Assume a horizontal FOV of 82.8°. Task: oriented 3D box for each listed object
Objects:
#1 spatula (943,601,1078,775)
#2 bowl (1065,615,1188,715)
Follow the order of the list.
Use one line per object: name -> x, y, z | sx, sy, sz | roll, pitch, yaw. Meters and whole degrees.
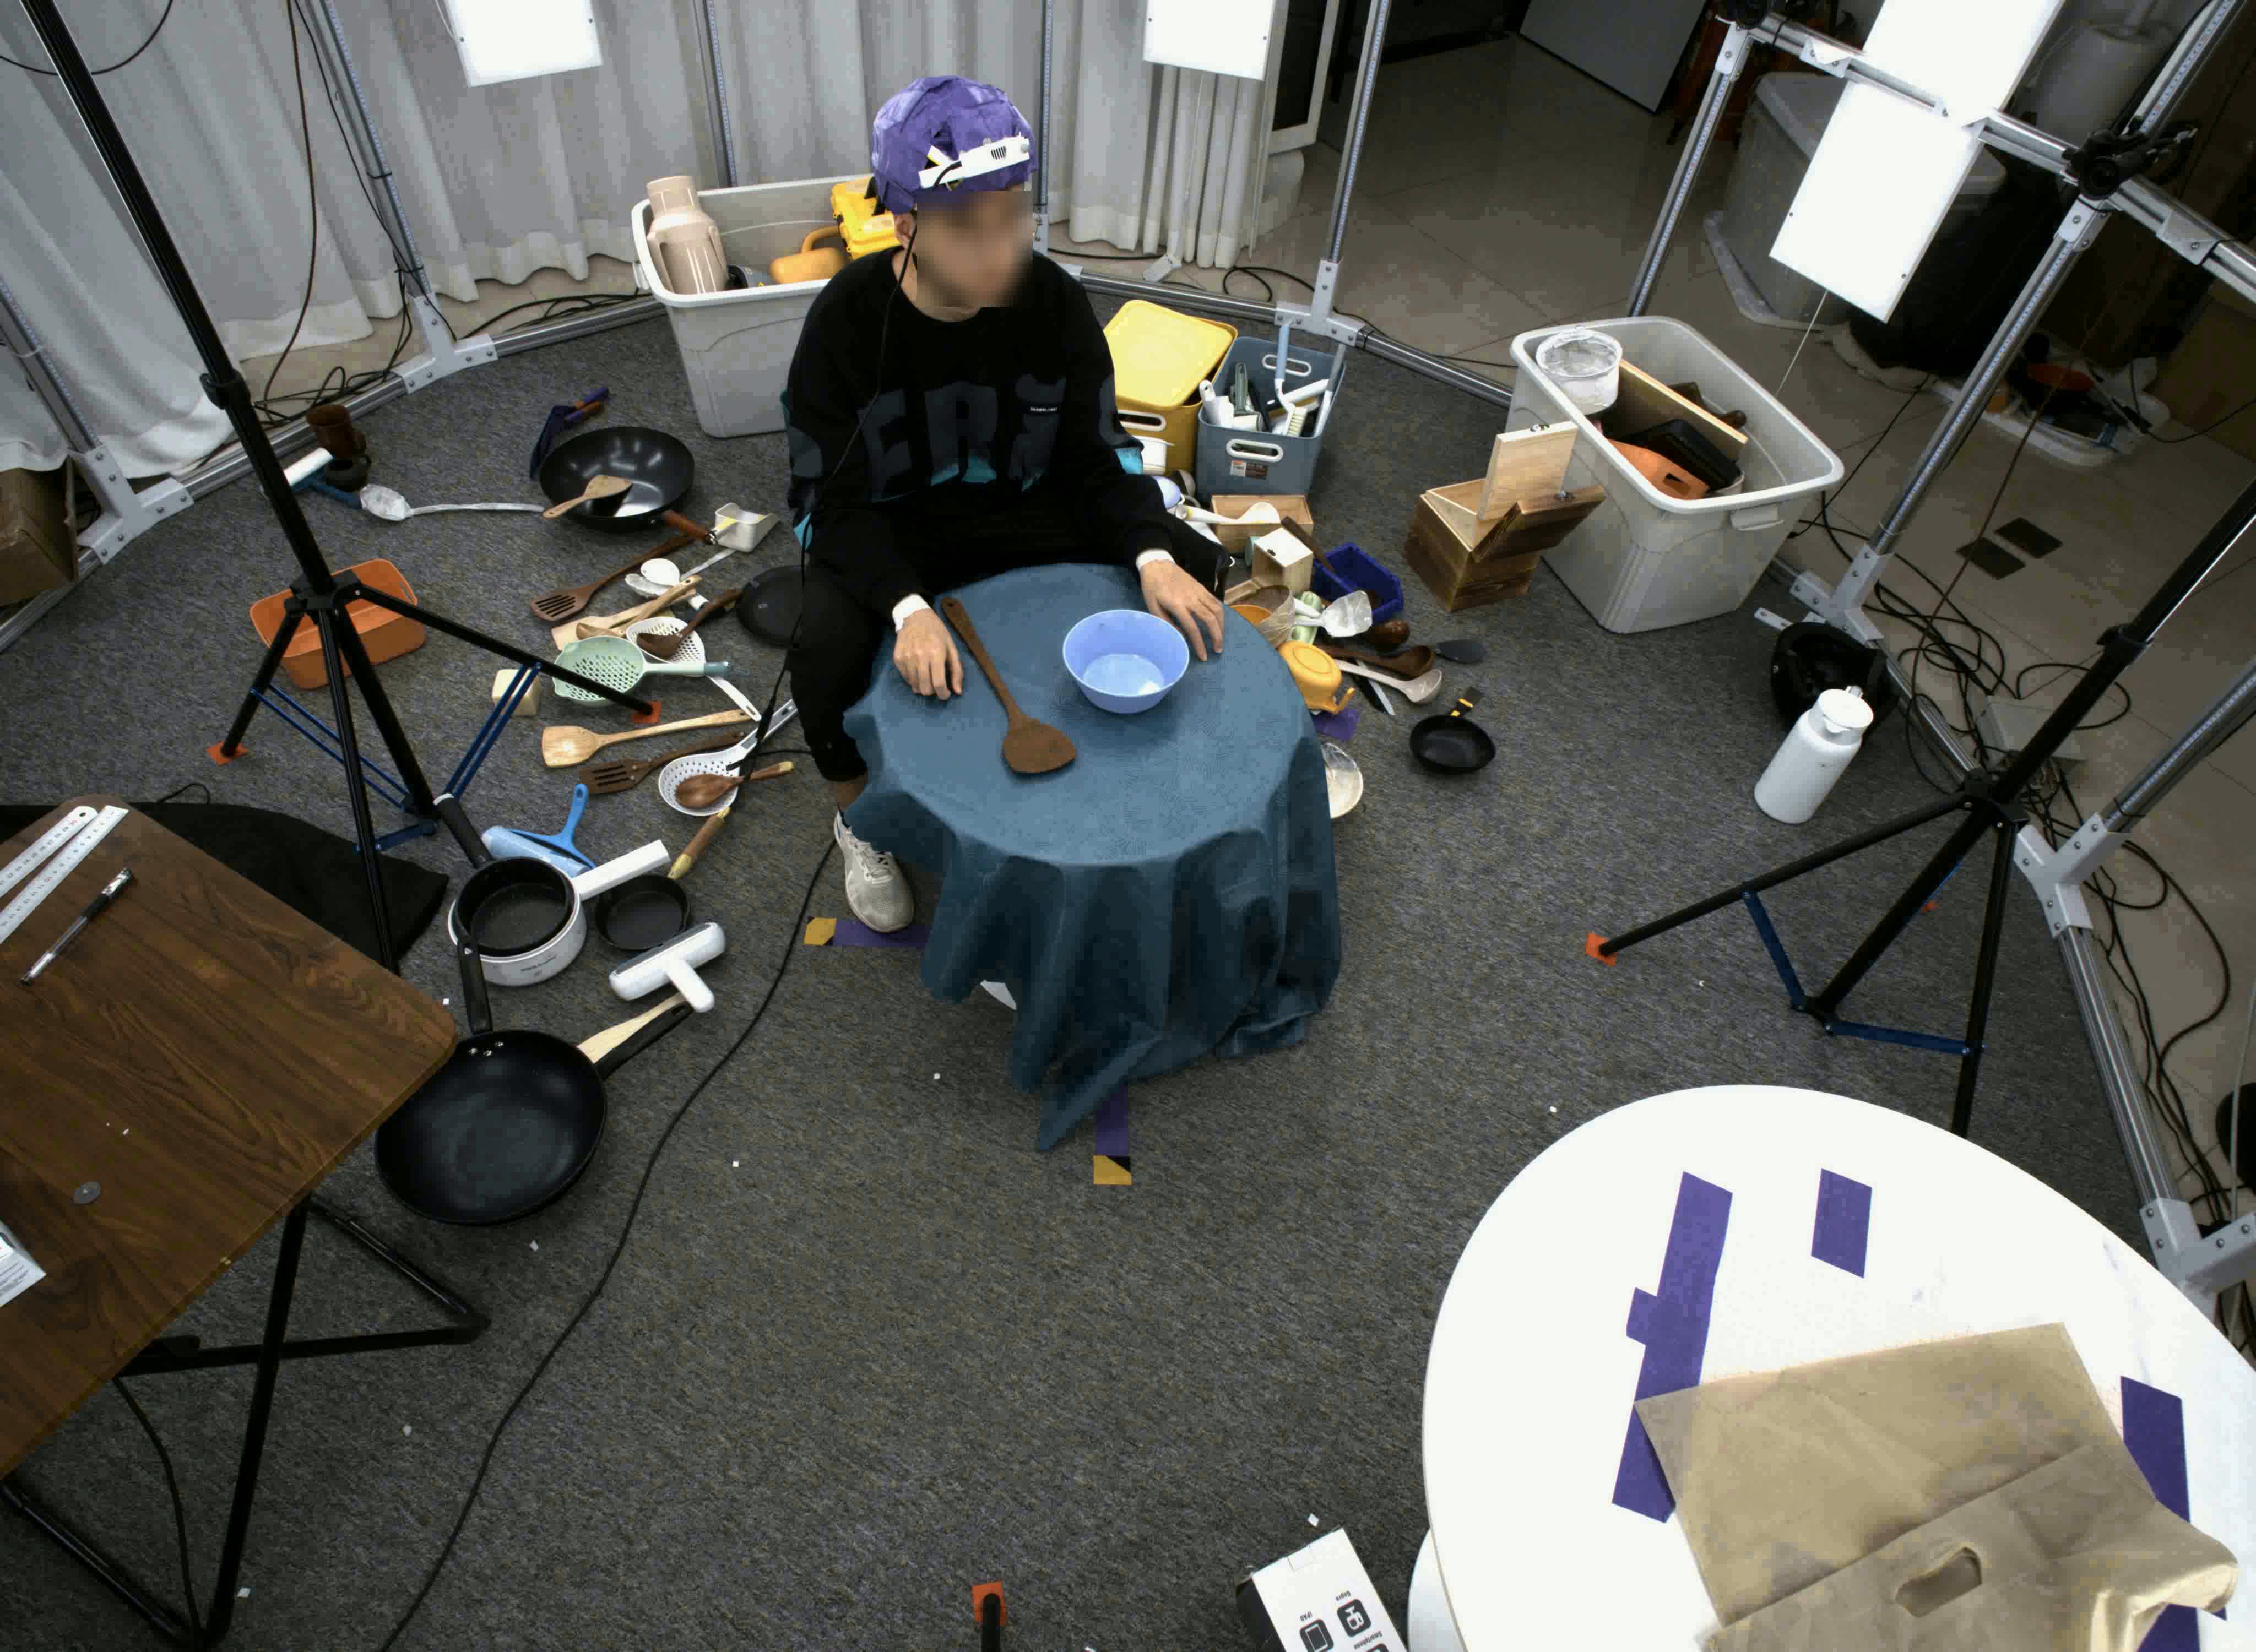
spatula -> -0.188, -0.208, 1.844 | 0.096, 0.015, 0.394 | -18, 52, -19
bowl -> -0.003, -0.221, 1.832 | 0.176, 0.068, 0.180 | 2, 47, -2
